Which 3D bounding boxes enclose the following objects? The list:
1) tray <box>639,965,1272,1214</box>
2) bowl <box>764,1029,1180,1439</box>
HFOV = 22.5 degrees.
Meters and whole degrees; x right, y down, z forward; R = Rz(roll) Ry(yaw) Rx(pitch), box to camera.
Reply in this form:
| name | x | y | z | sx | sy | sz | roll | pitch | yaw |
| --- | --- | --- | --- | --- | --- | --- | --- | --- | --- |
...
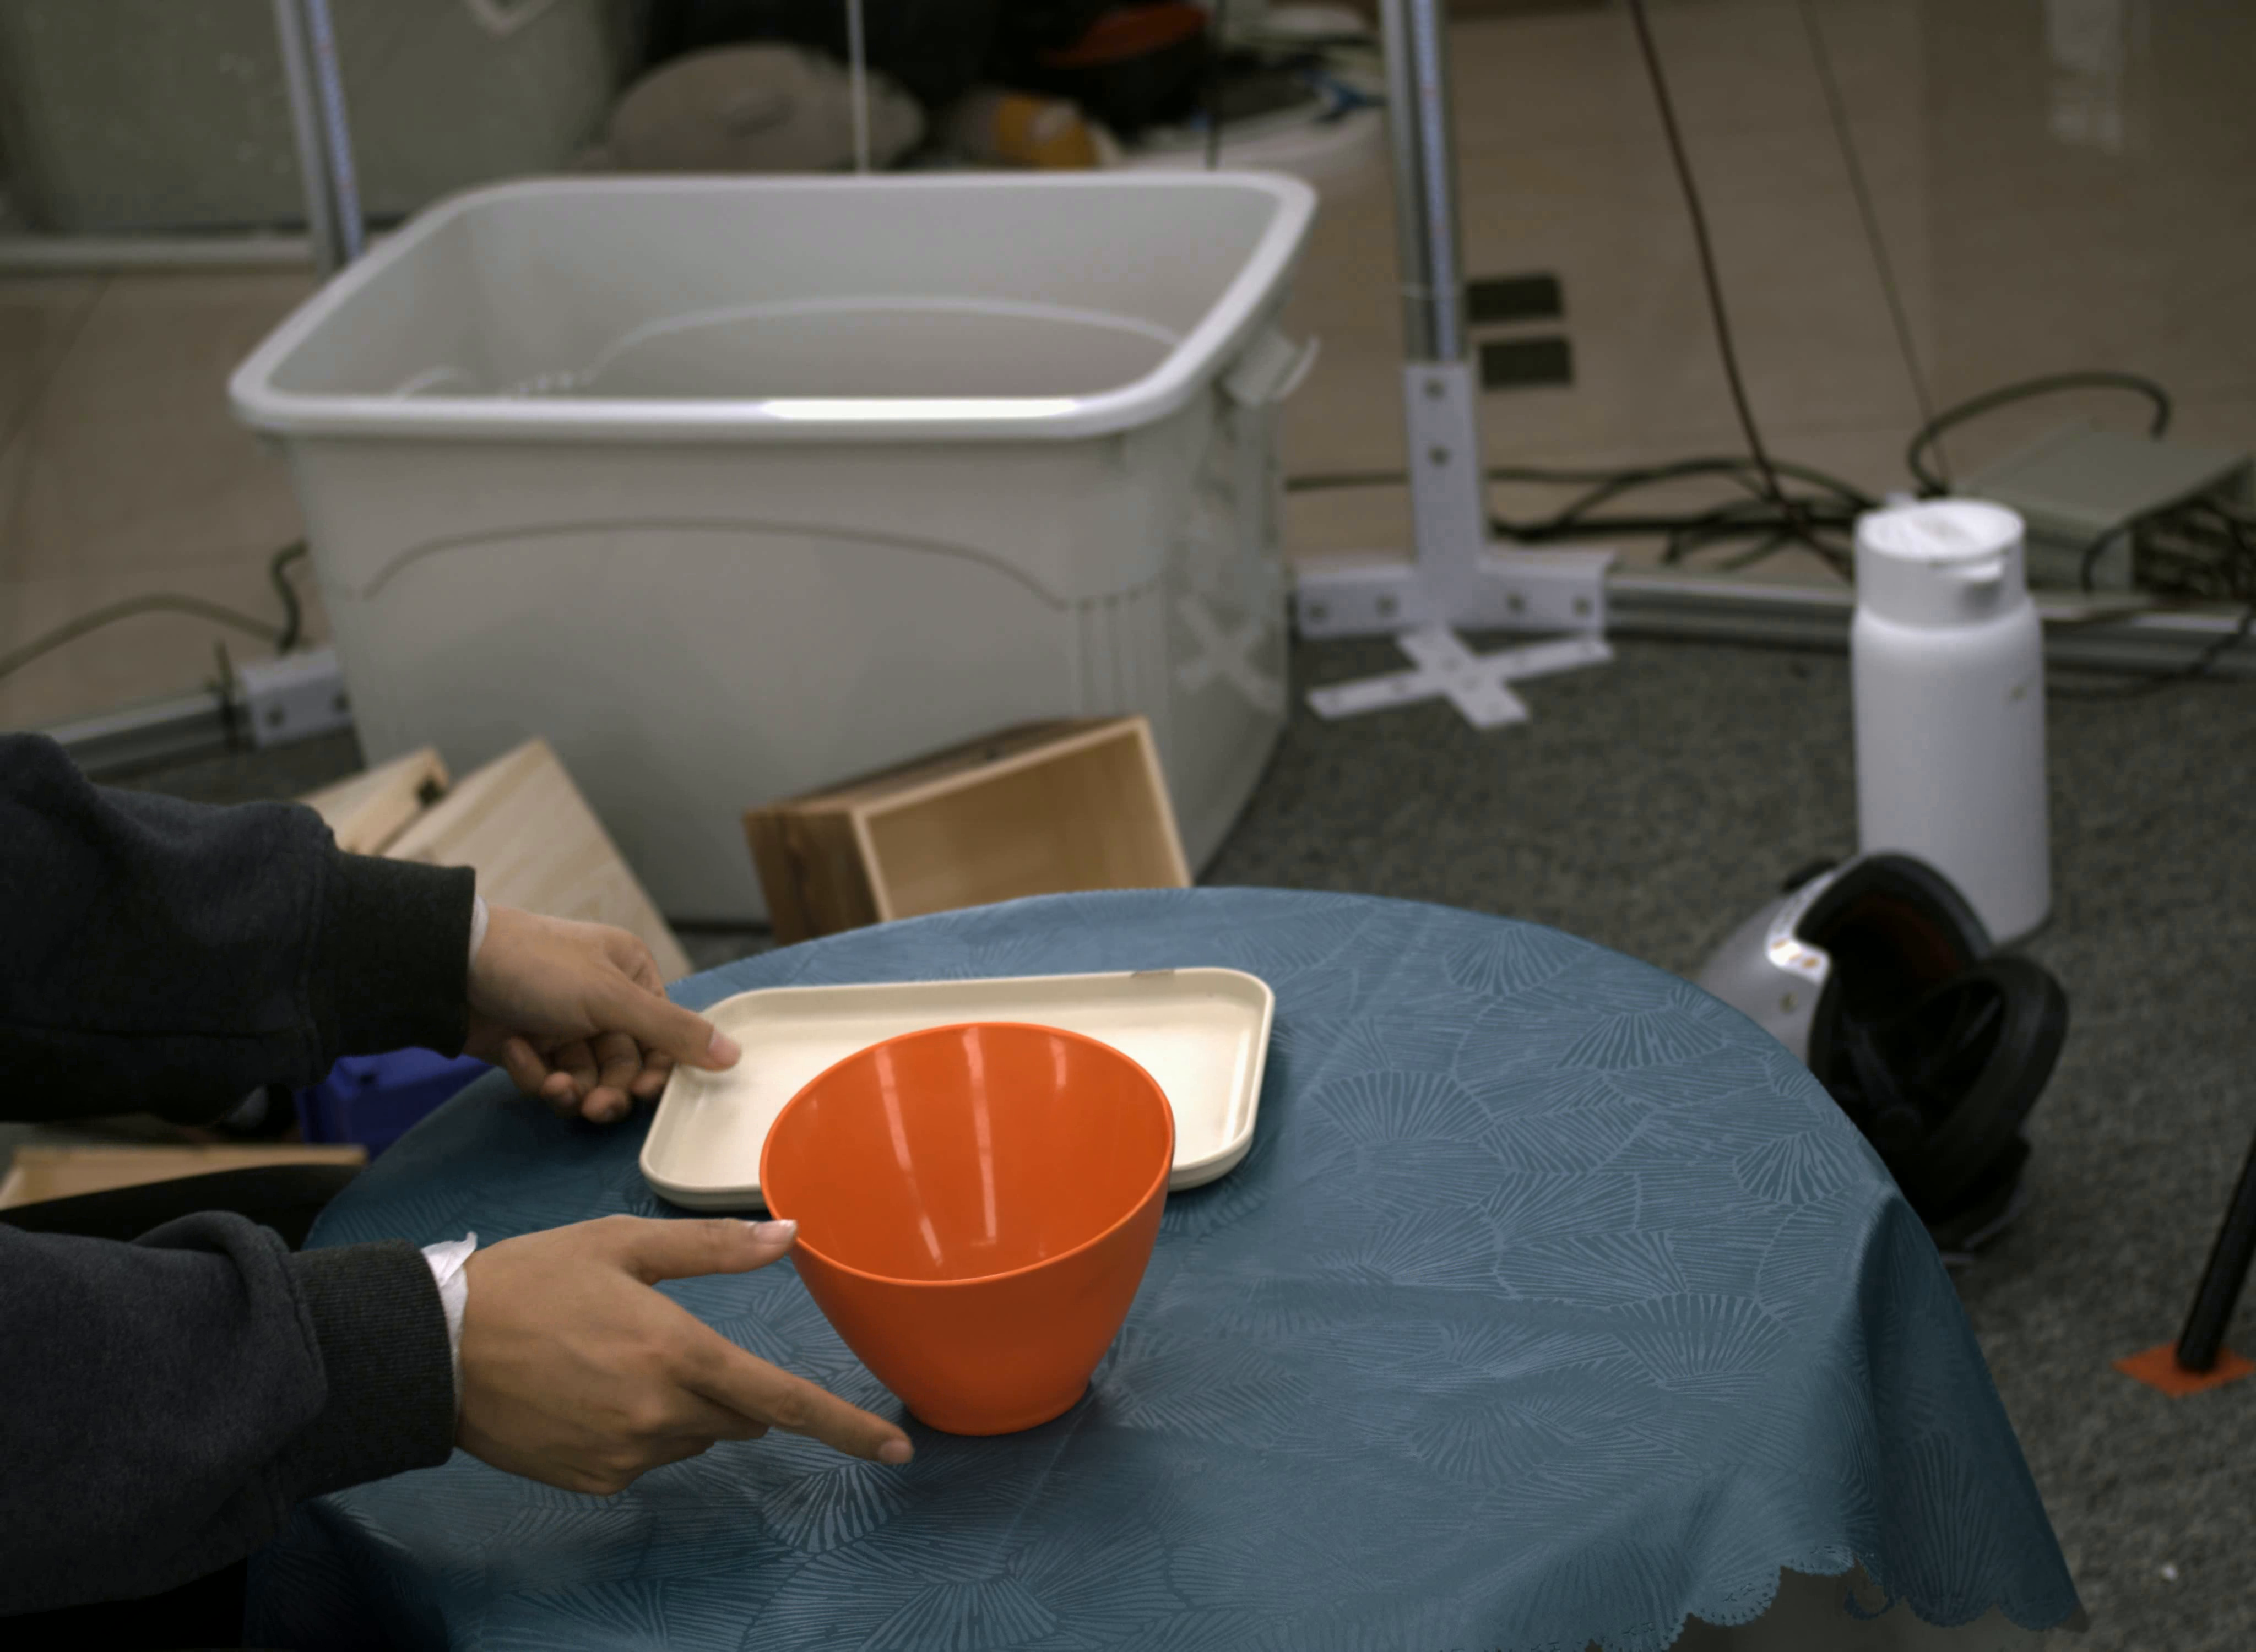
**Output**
| name | x | y | z | sx | sy | sz | roll | pitch | yaw |
| --- | --- | --- | --- | --- | --- | --- | --- | --- | --- |
| tray | -0.065 | 0.104 | 2.217 | 0.239 | 0.018 | 0.169 | -3 | 26 | 8 |
| bowl | -0.052 | 0.151 | 2.013 | 0.148 | 0.106 | 0.146 | -4 | 24 | 2 |
